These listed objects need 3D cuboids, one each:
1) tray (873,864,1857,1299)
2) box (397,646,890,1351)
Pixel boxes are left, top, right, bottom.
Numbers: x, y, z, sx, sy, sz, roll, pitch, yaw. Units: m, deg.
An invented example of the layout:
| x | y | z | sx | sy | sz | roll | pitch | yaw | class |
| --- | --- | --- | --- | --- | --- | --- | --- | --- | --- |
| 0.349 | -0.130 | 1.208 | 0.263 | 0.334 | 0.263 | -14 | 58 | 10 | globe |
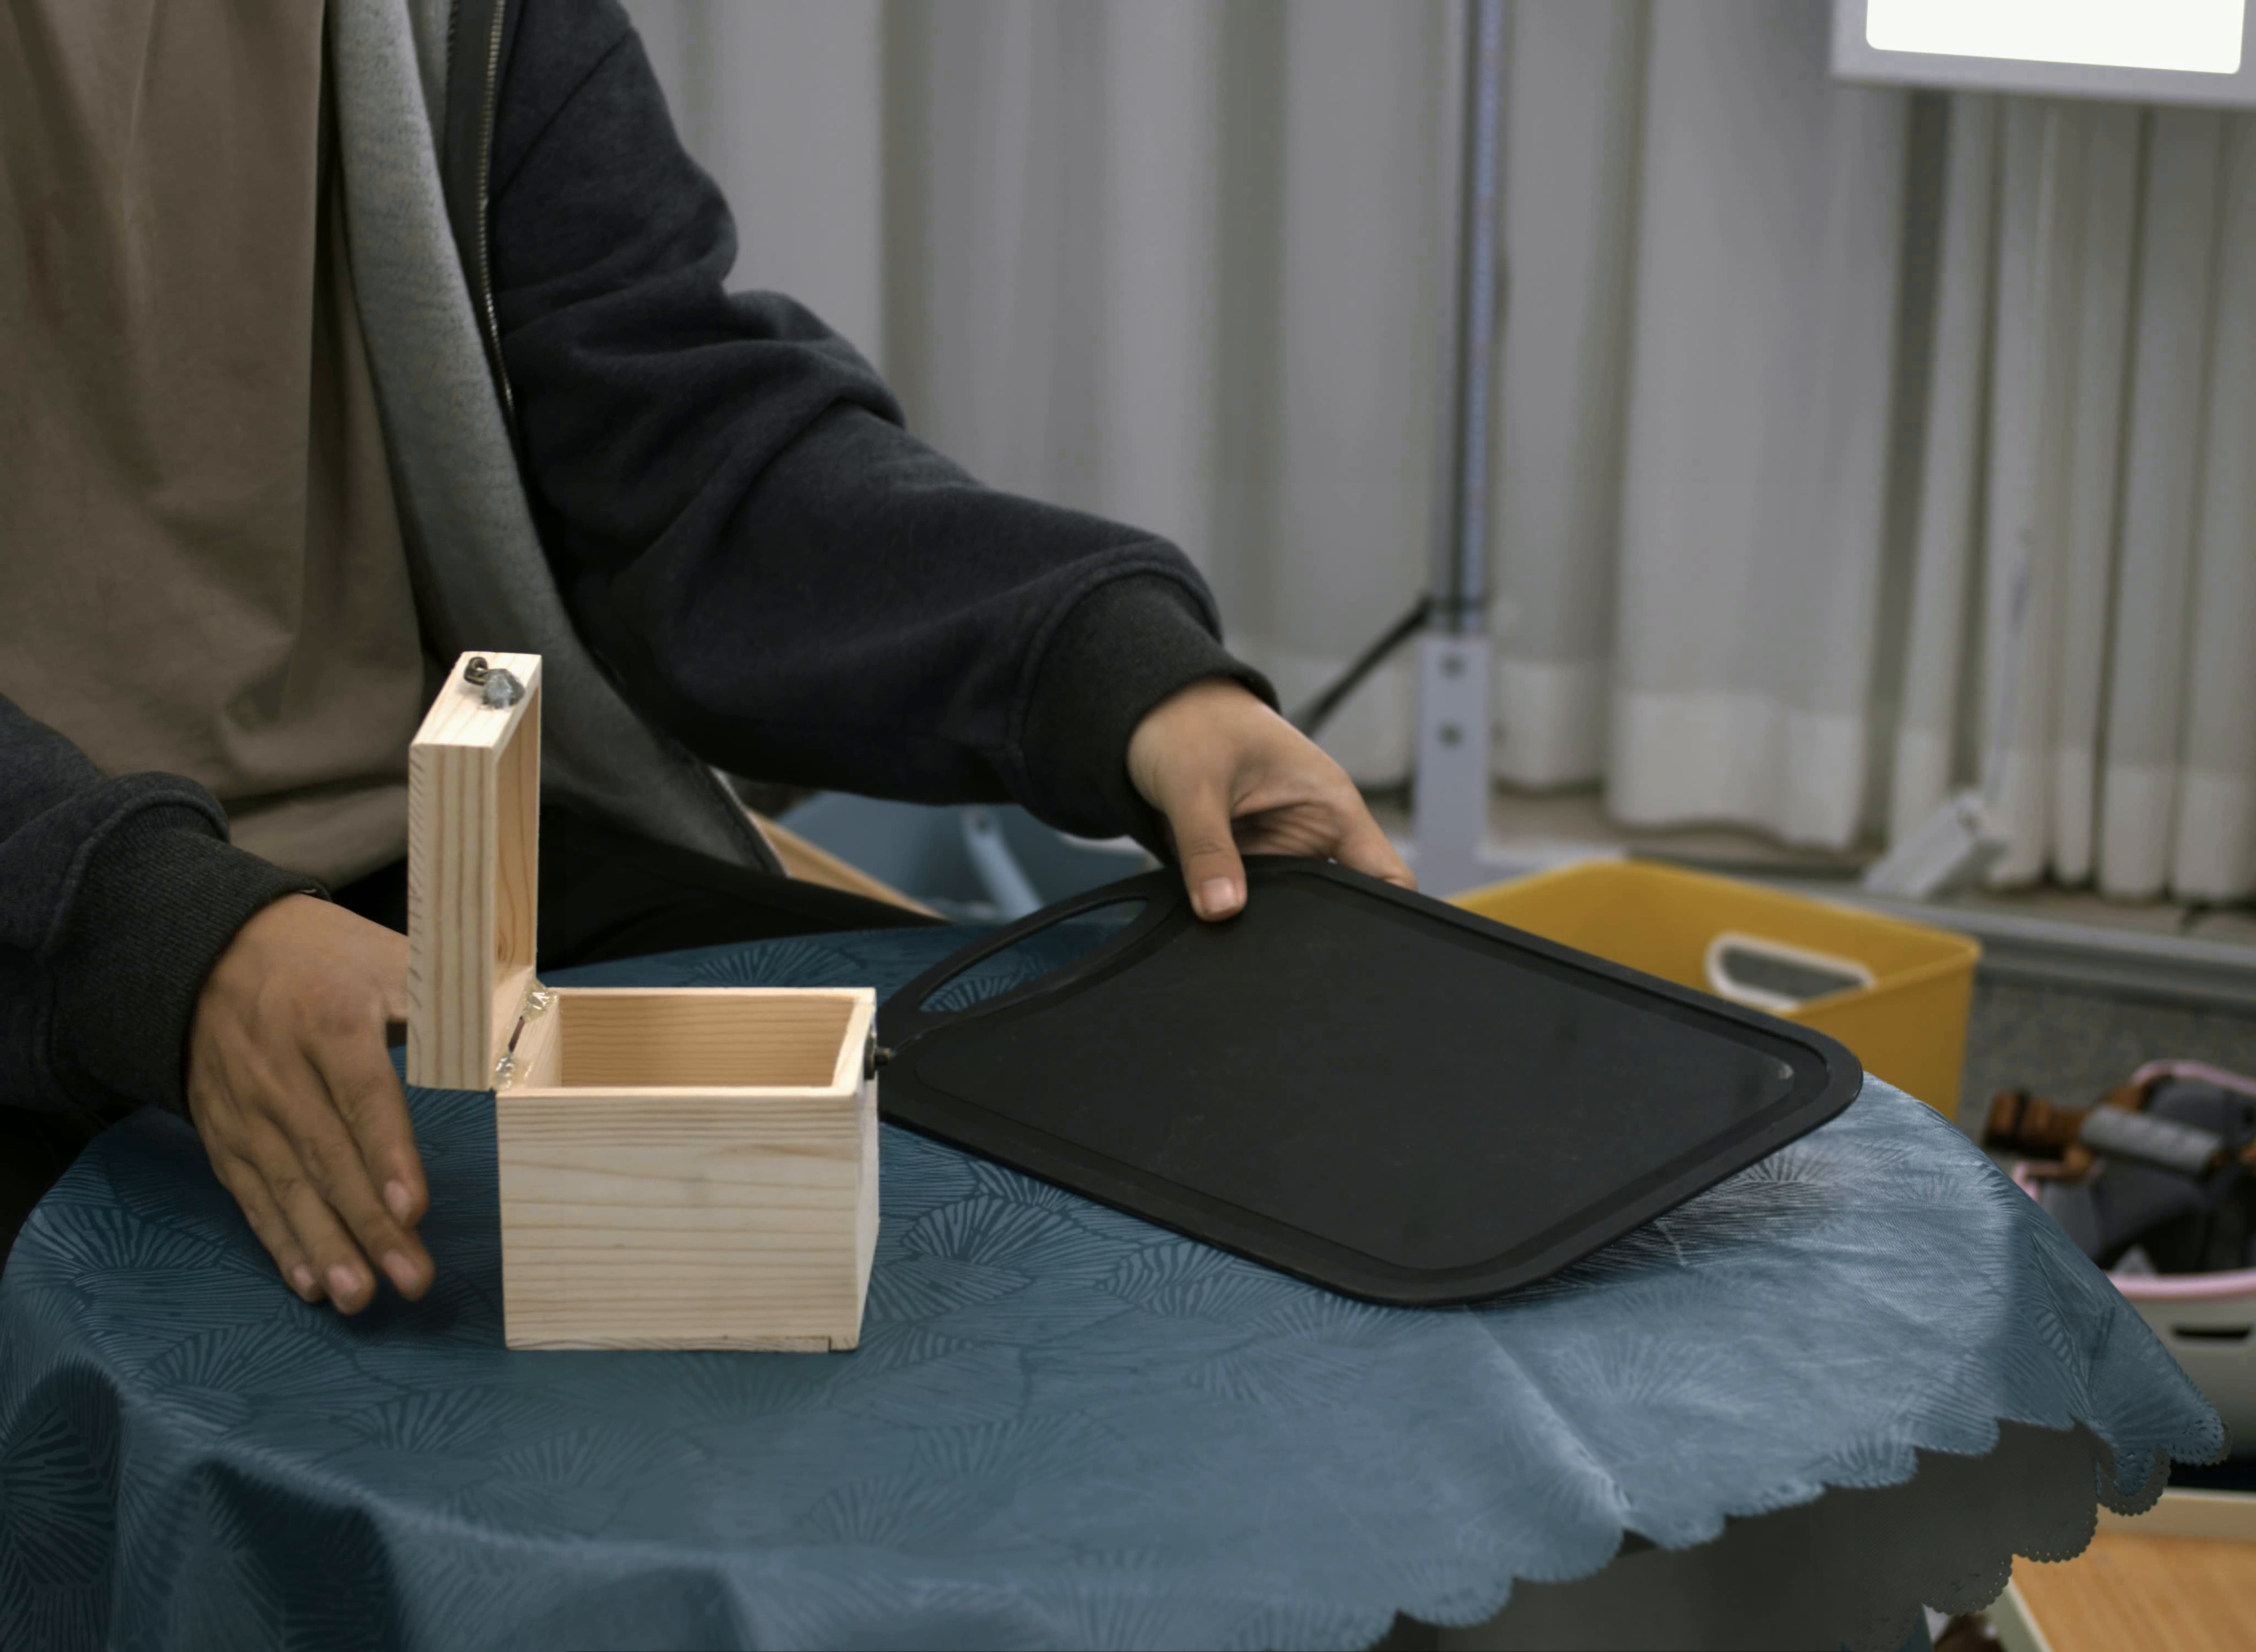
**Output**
| x | y | z | sx | sy | sz | roll | pitch | yaw | class |
| --- | --- | --- | --- | --- | --- | --- | --- | --- | --- |
| 0.060 | 0.073 | 1.679 | 0.211 | 0.010 | 0.321 | -25 | 29 | -35 | tray |
| -0.135 | 0.047 | 1.508 | 0.133 | 0.186 | 0.102 | -1 | 17 | 0 | box |
